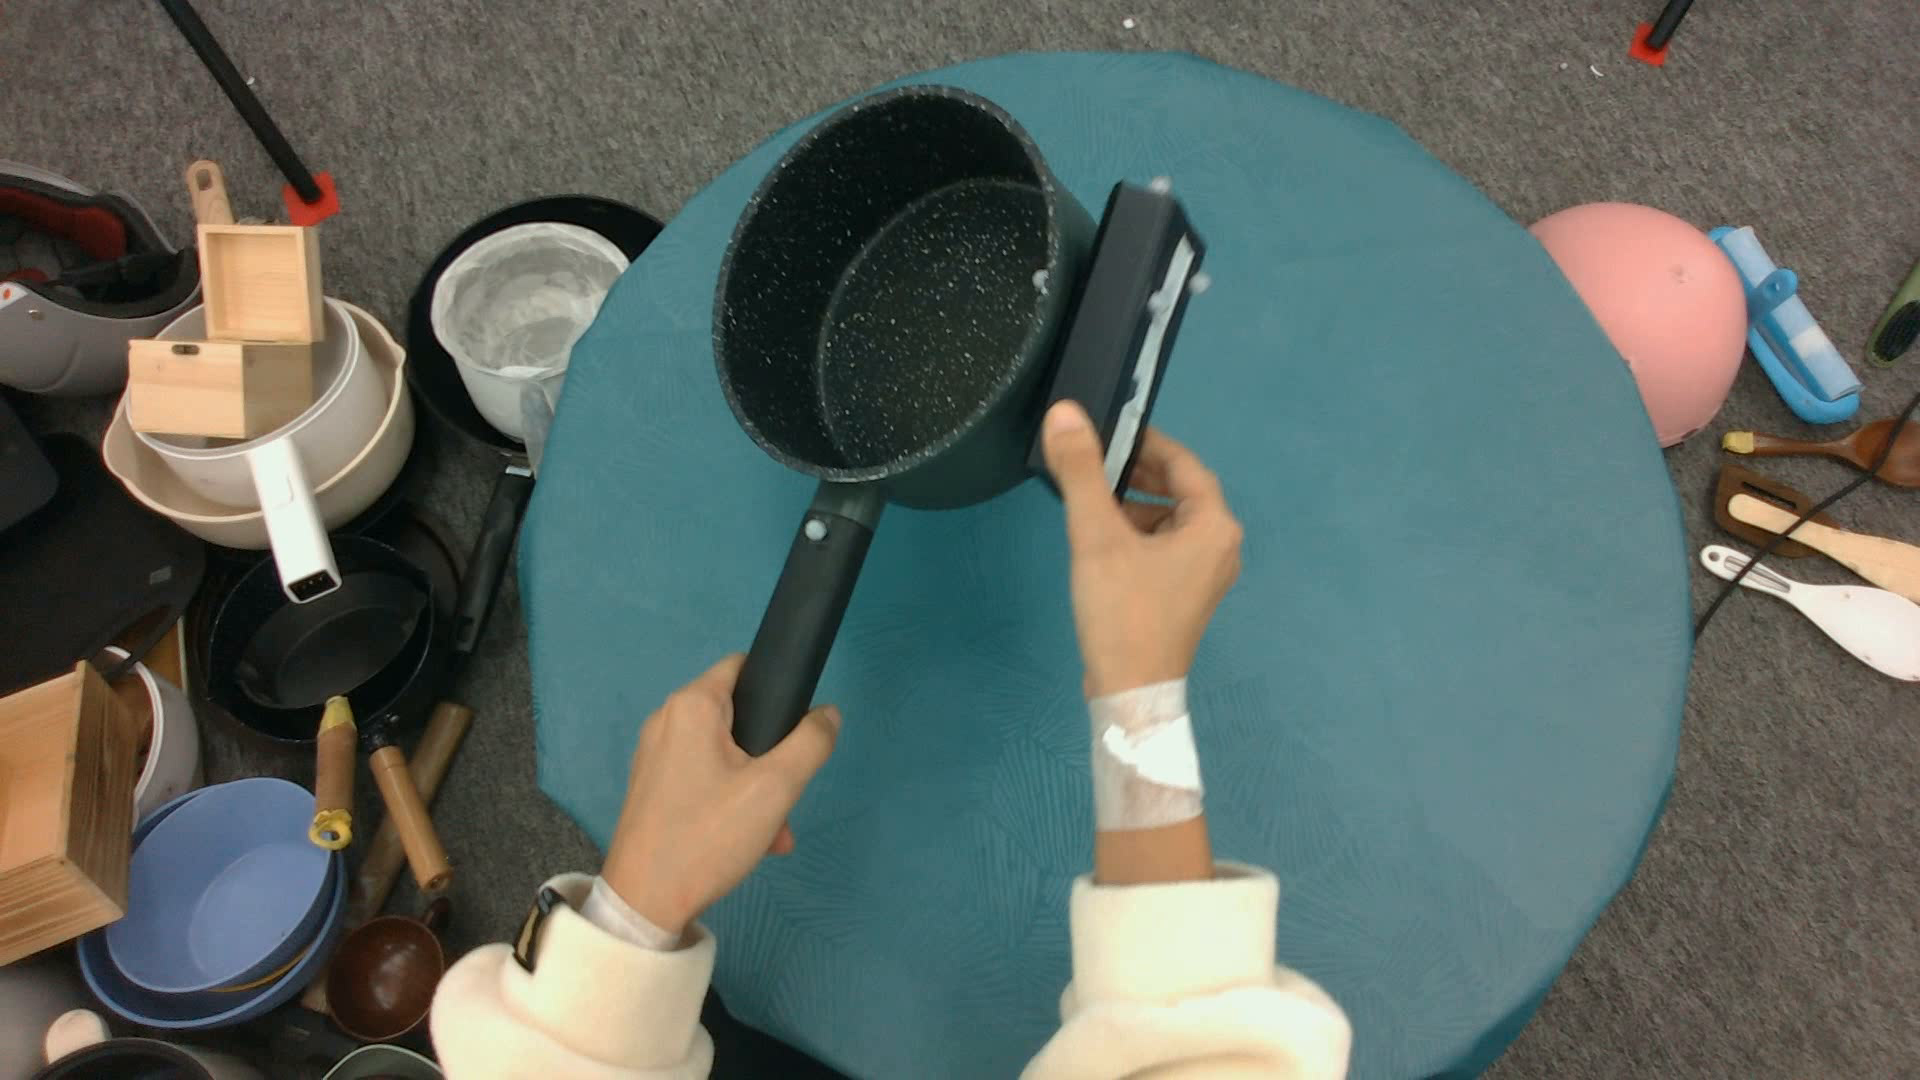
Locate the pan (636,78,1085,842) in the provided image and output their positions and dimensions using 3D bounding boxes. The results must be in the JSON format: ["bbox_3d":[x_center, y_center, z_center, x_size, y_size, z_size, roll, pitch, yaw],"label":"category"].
[{"bbox_3d":[-0.048,-0.030,0.591,0.172,0.086,0.329,14,82,32],"label":"pan"}]

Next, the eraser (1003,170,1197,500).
[{"bbox_3d":[0.058,-0.083,0.555,0.030,0.053,0.125,16,82,29],"label":"eraser"}]
